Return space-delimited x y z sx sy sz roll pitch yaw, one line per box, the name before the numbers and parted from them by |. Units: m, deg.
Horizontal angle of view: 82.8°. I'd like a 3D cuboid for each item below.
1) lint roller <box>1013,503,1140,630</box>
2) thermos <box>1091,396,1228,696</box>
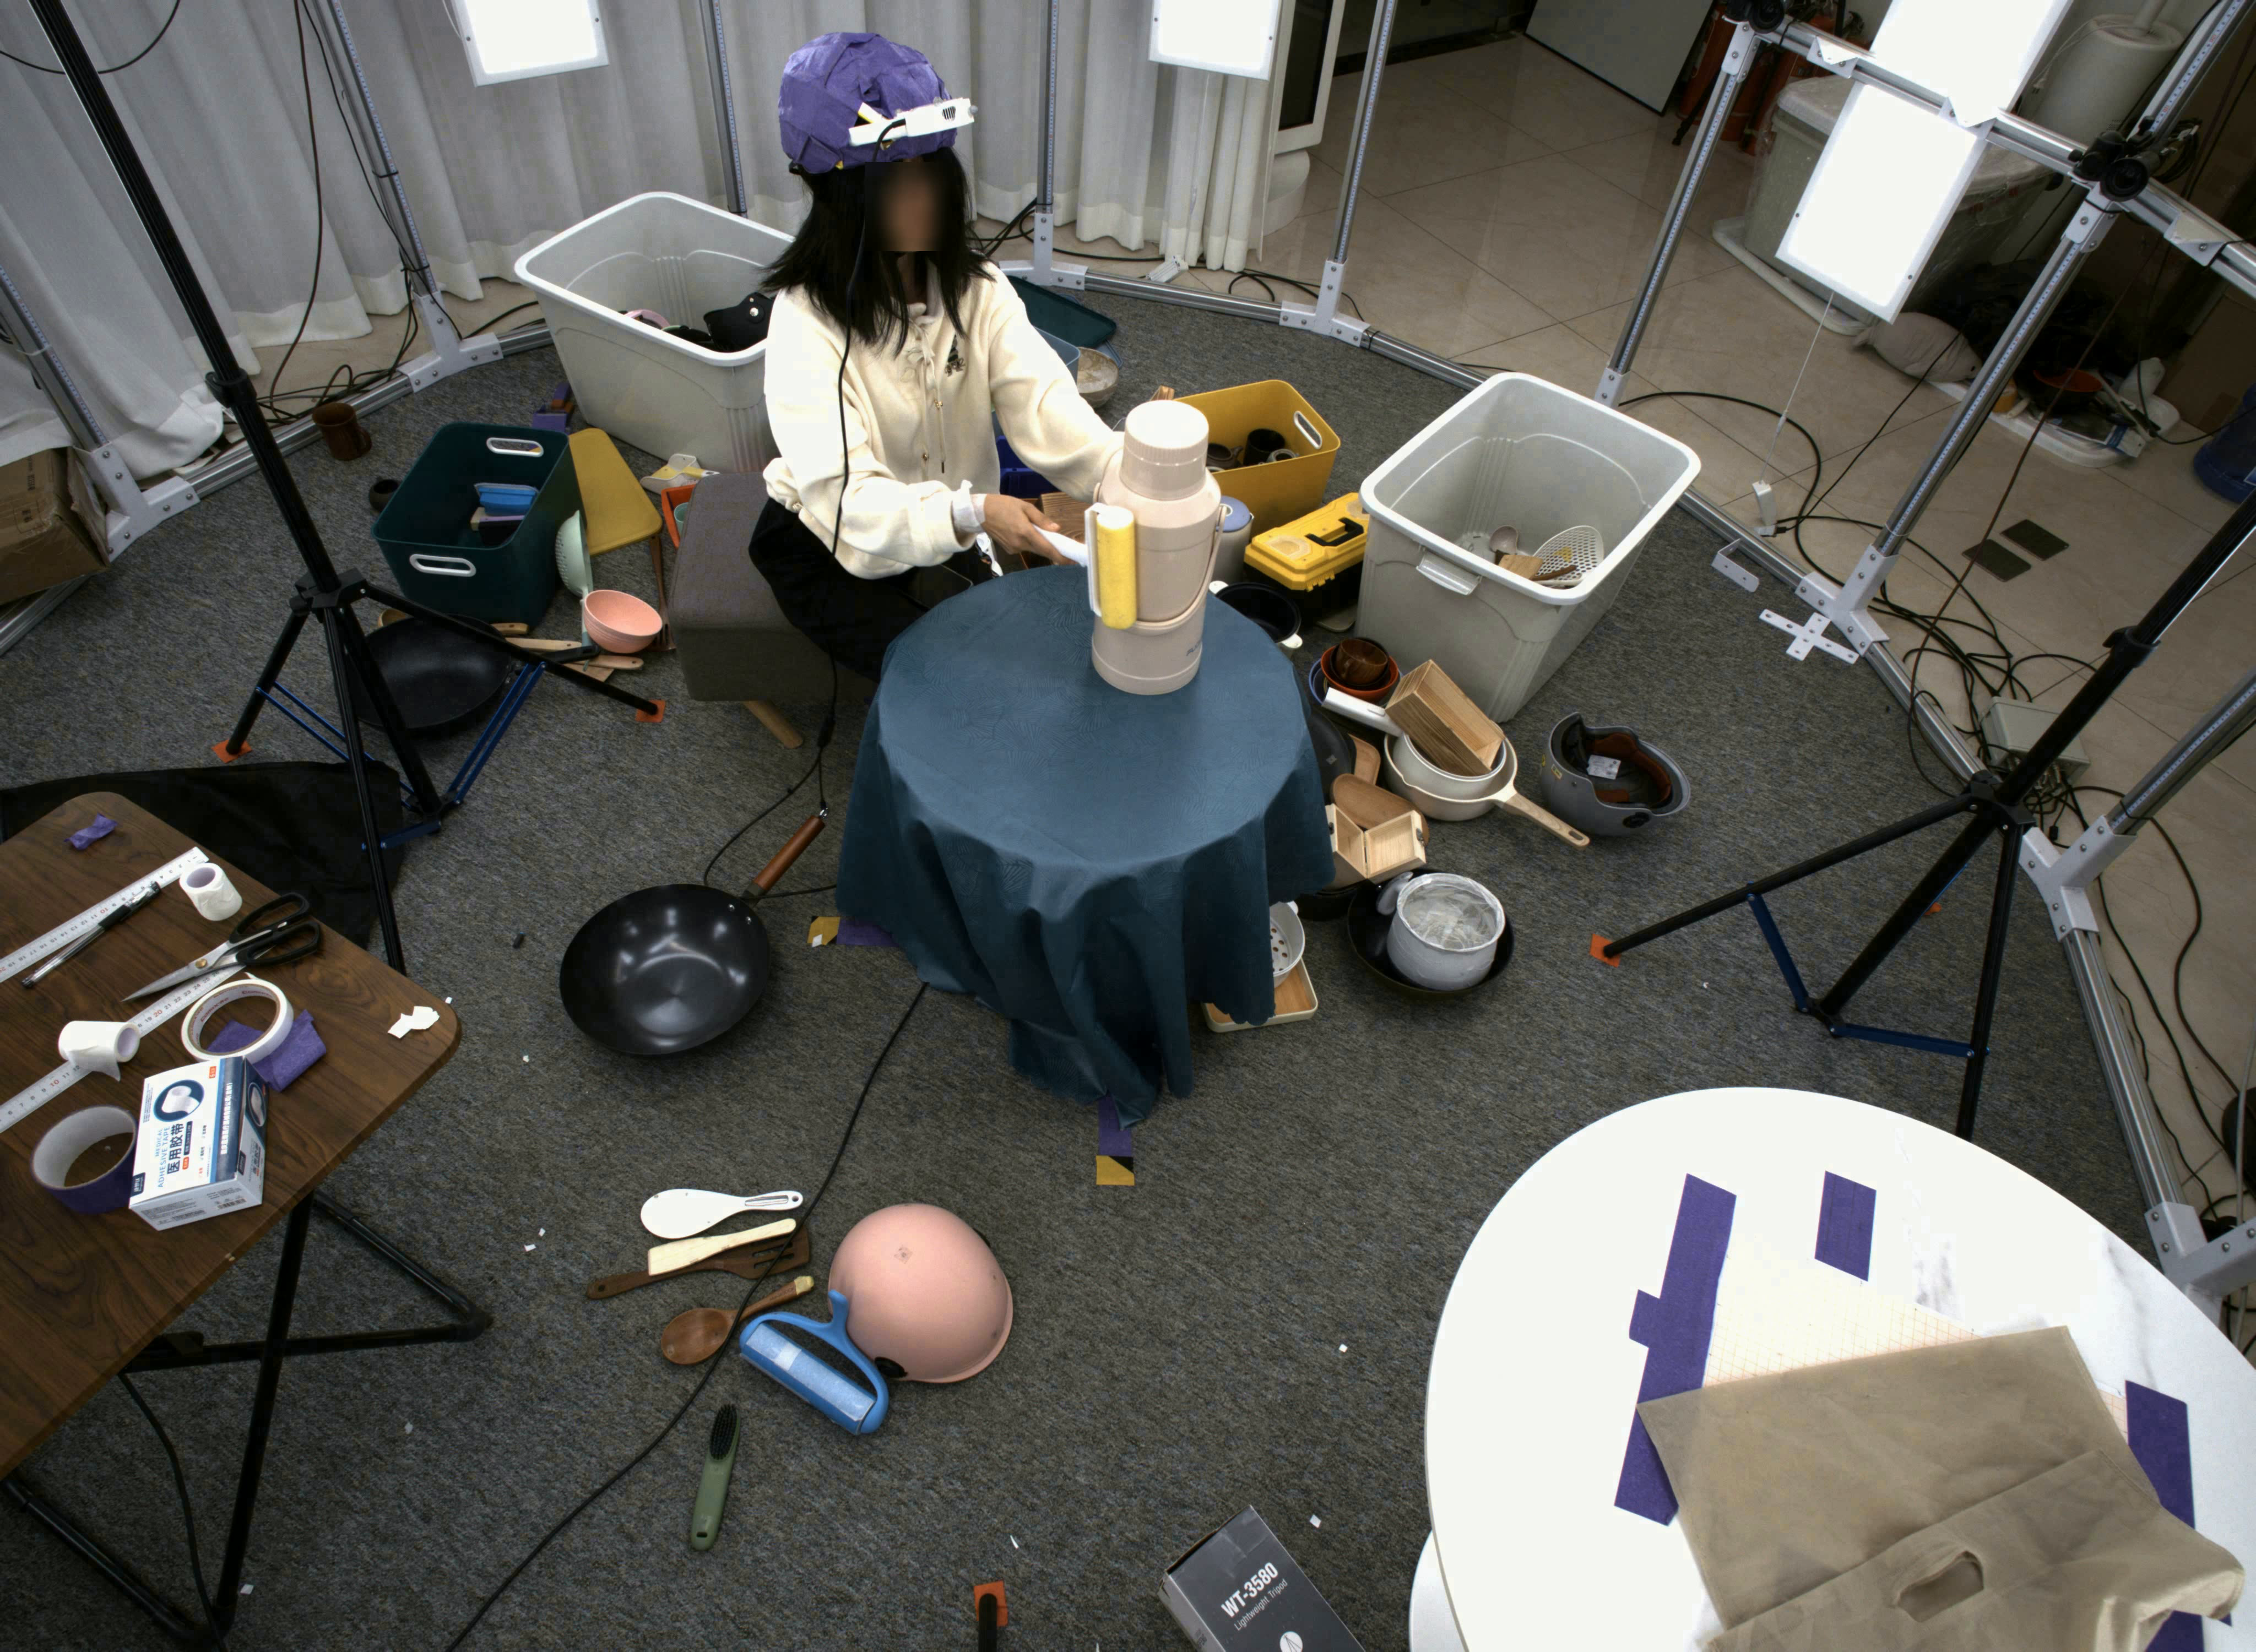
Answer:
lint roller | -0.074 -0.352 1.684 0.193 0.170 0.052 17 49 20
thermos | 0.042 -0.382 1.749 0.175 0.396 0.212 11 49 6
